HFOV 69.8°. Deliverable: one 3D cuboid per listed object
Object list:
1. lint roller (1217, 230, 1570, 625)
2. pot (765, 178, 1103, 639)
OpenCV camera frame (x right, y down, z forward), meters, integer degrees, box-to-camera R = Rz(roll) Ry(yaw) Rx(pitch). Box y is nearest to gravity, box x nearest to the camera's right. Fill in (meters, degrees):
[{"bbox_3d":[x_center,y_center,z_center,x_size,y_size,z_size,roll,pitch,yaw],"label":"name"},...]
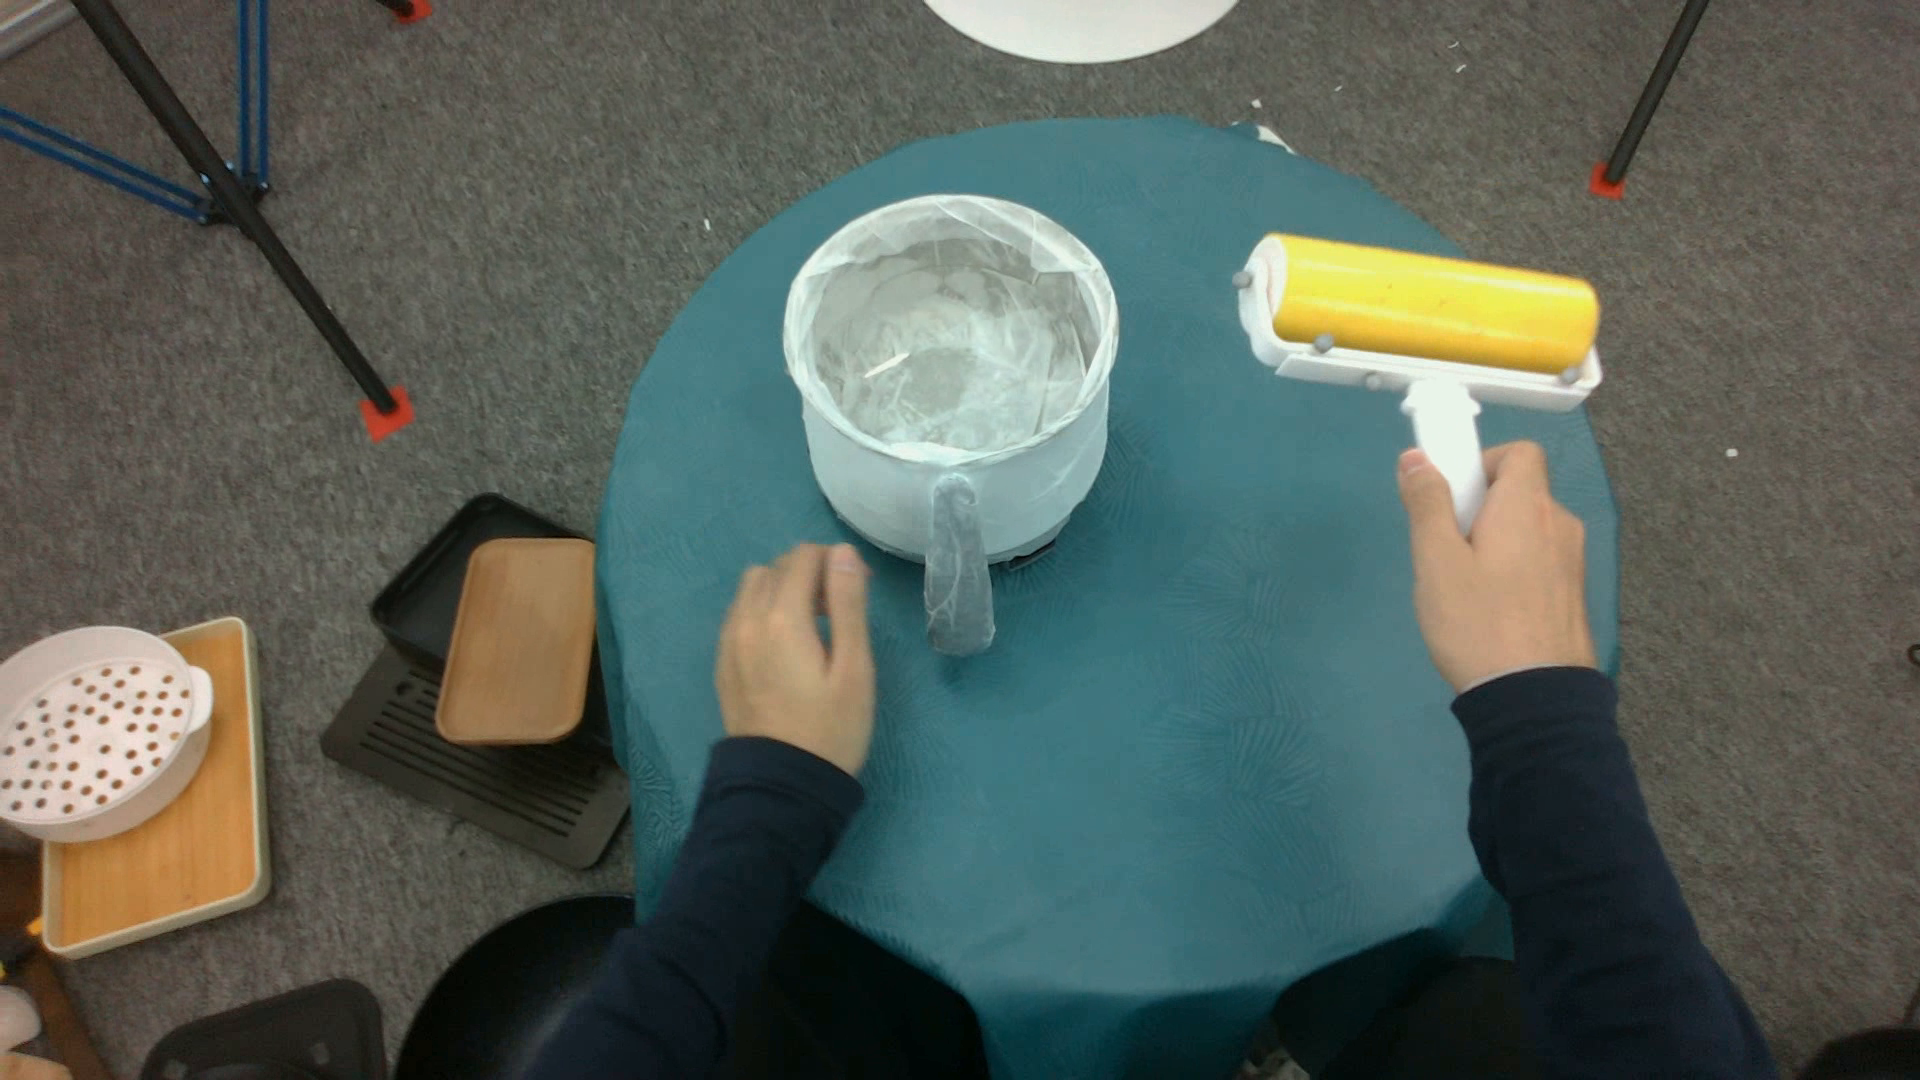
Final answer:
[{"bbox_3d":[0.215,-0.055,0.617,0.174,0.051,0.193,5,52,-16],"label":"lint roller"},{"bbox_3d":[-0.011,-0.069,0.761,0.179,0.136,0.234,-3,60,1],"label":"pot"}]
